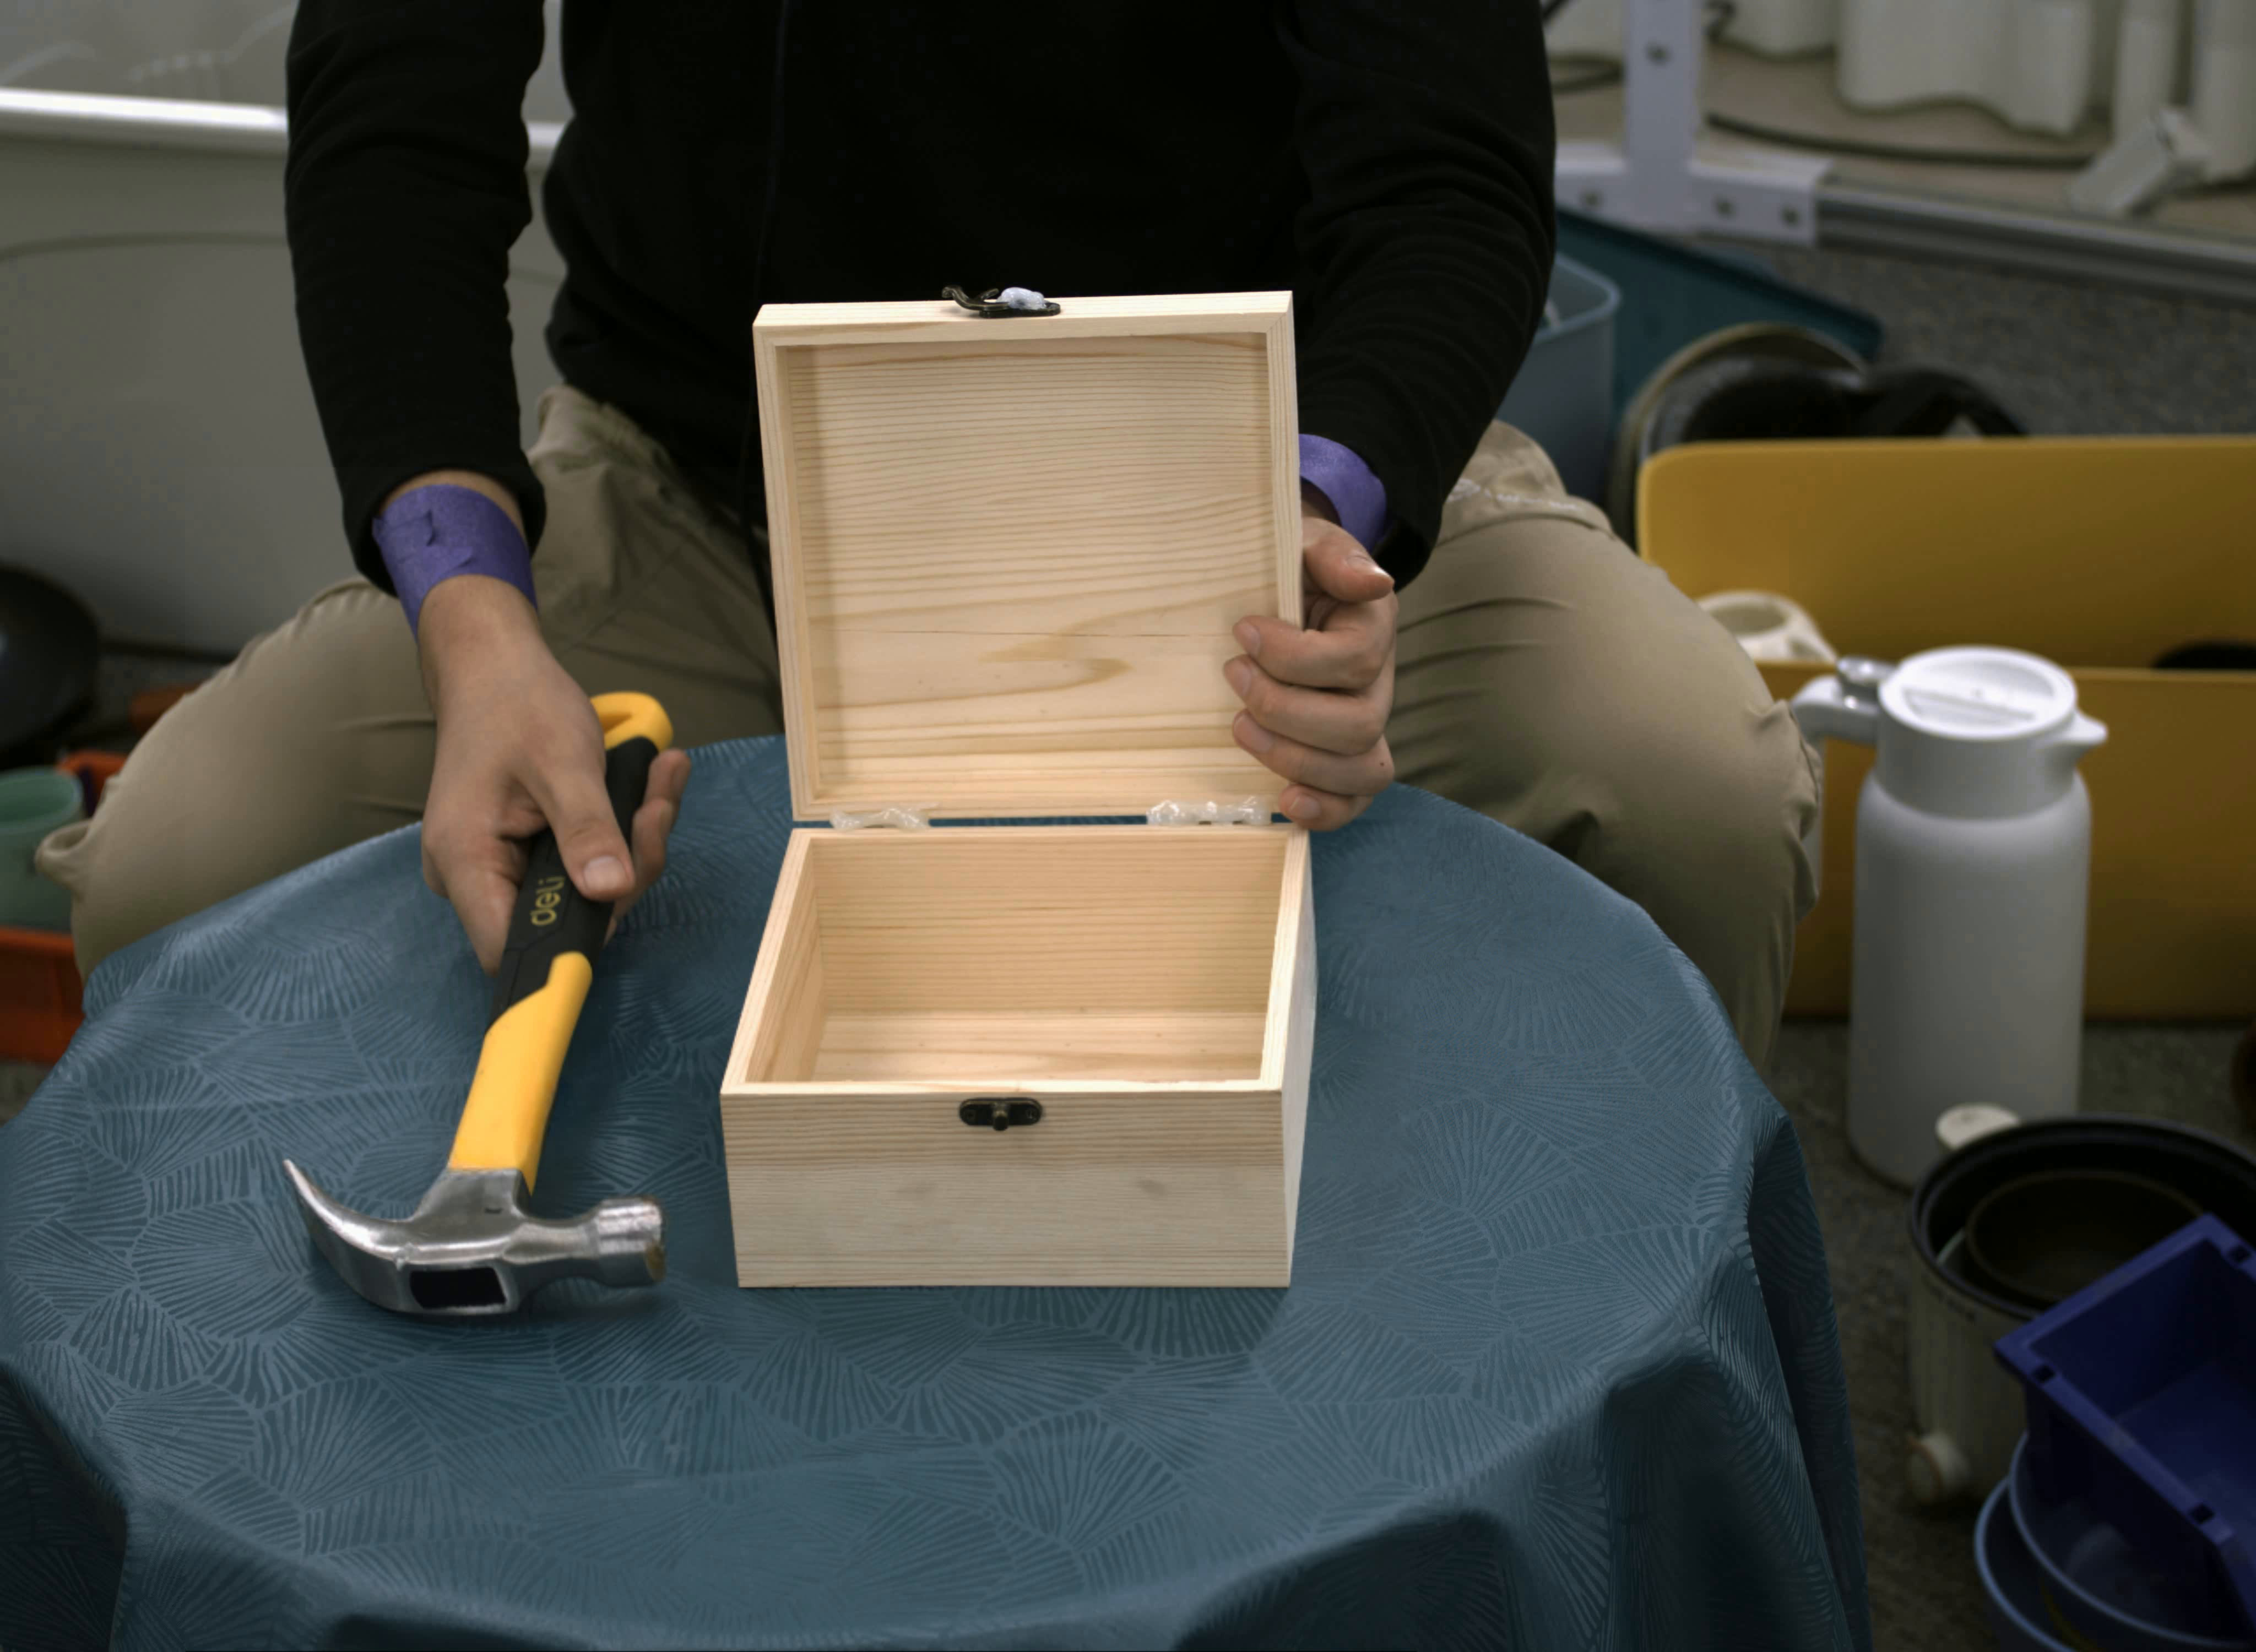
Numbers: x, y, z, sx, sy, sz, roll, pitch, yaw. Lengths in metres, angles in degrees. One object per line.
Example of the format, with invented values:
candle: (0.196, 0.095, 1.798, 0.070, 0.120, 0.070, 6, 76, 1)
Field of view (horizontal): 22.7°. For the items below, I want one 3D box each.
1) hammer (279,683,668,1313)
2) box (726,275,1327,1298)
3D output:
hammer: (-0.202, 0.051, 1.932, 0.130, 0.032, 0.345, -7, 33, 10)
box: (-0.034, -0.018, 1.865, 0.180, 0.250, 0.269, -3, 27, 5)
